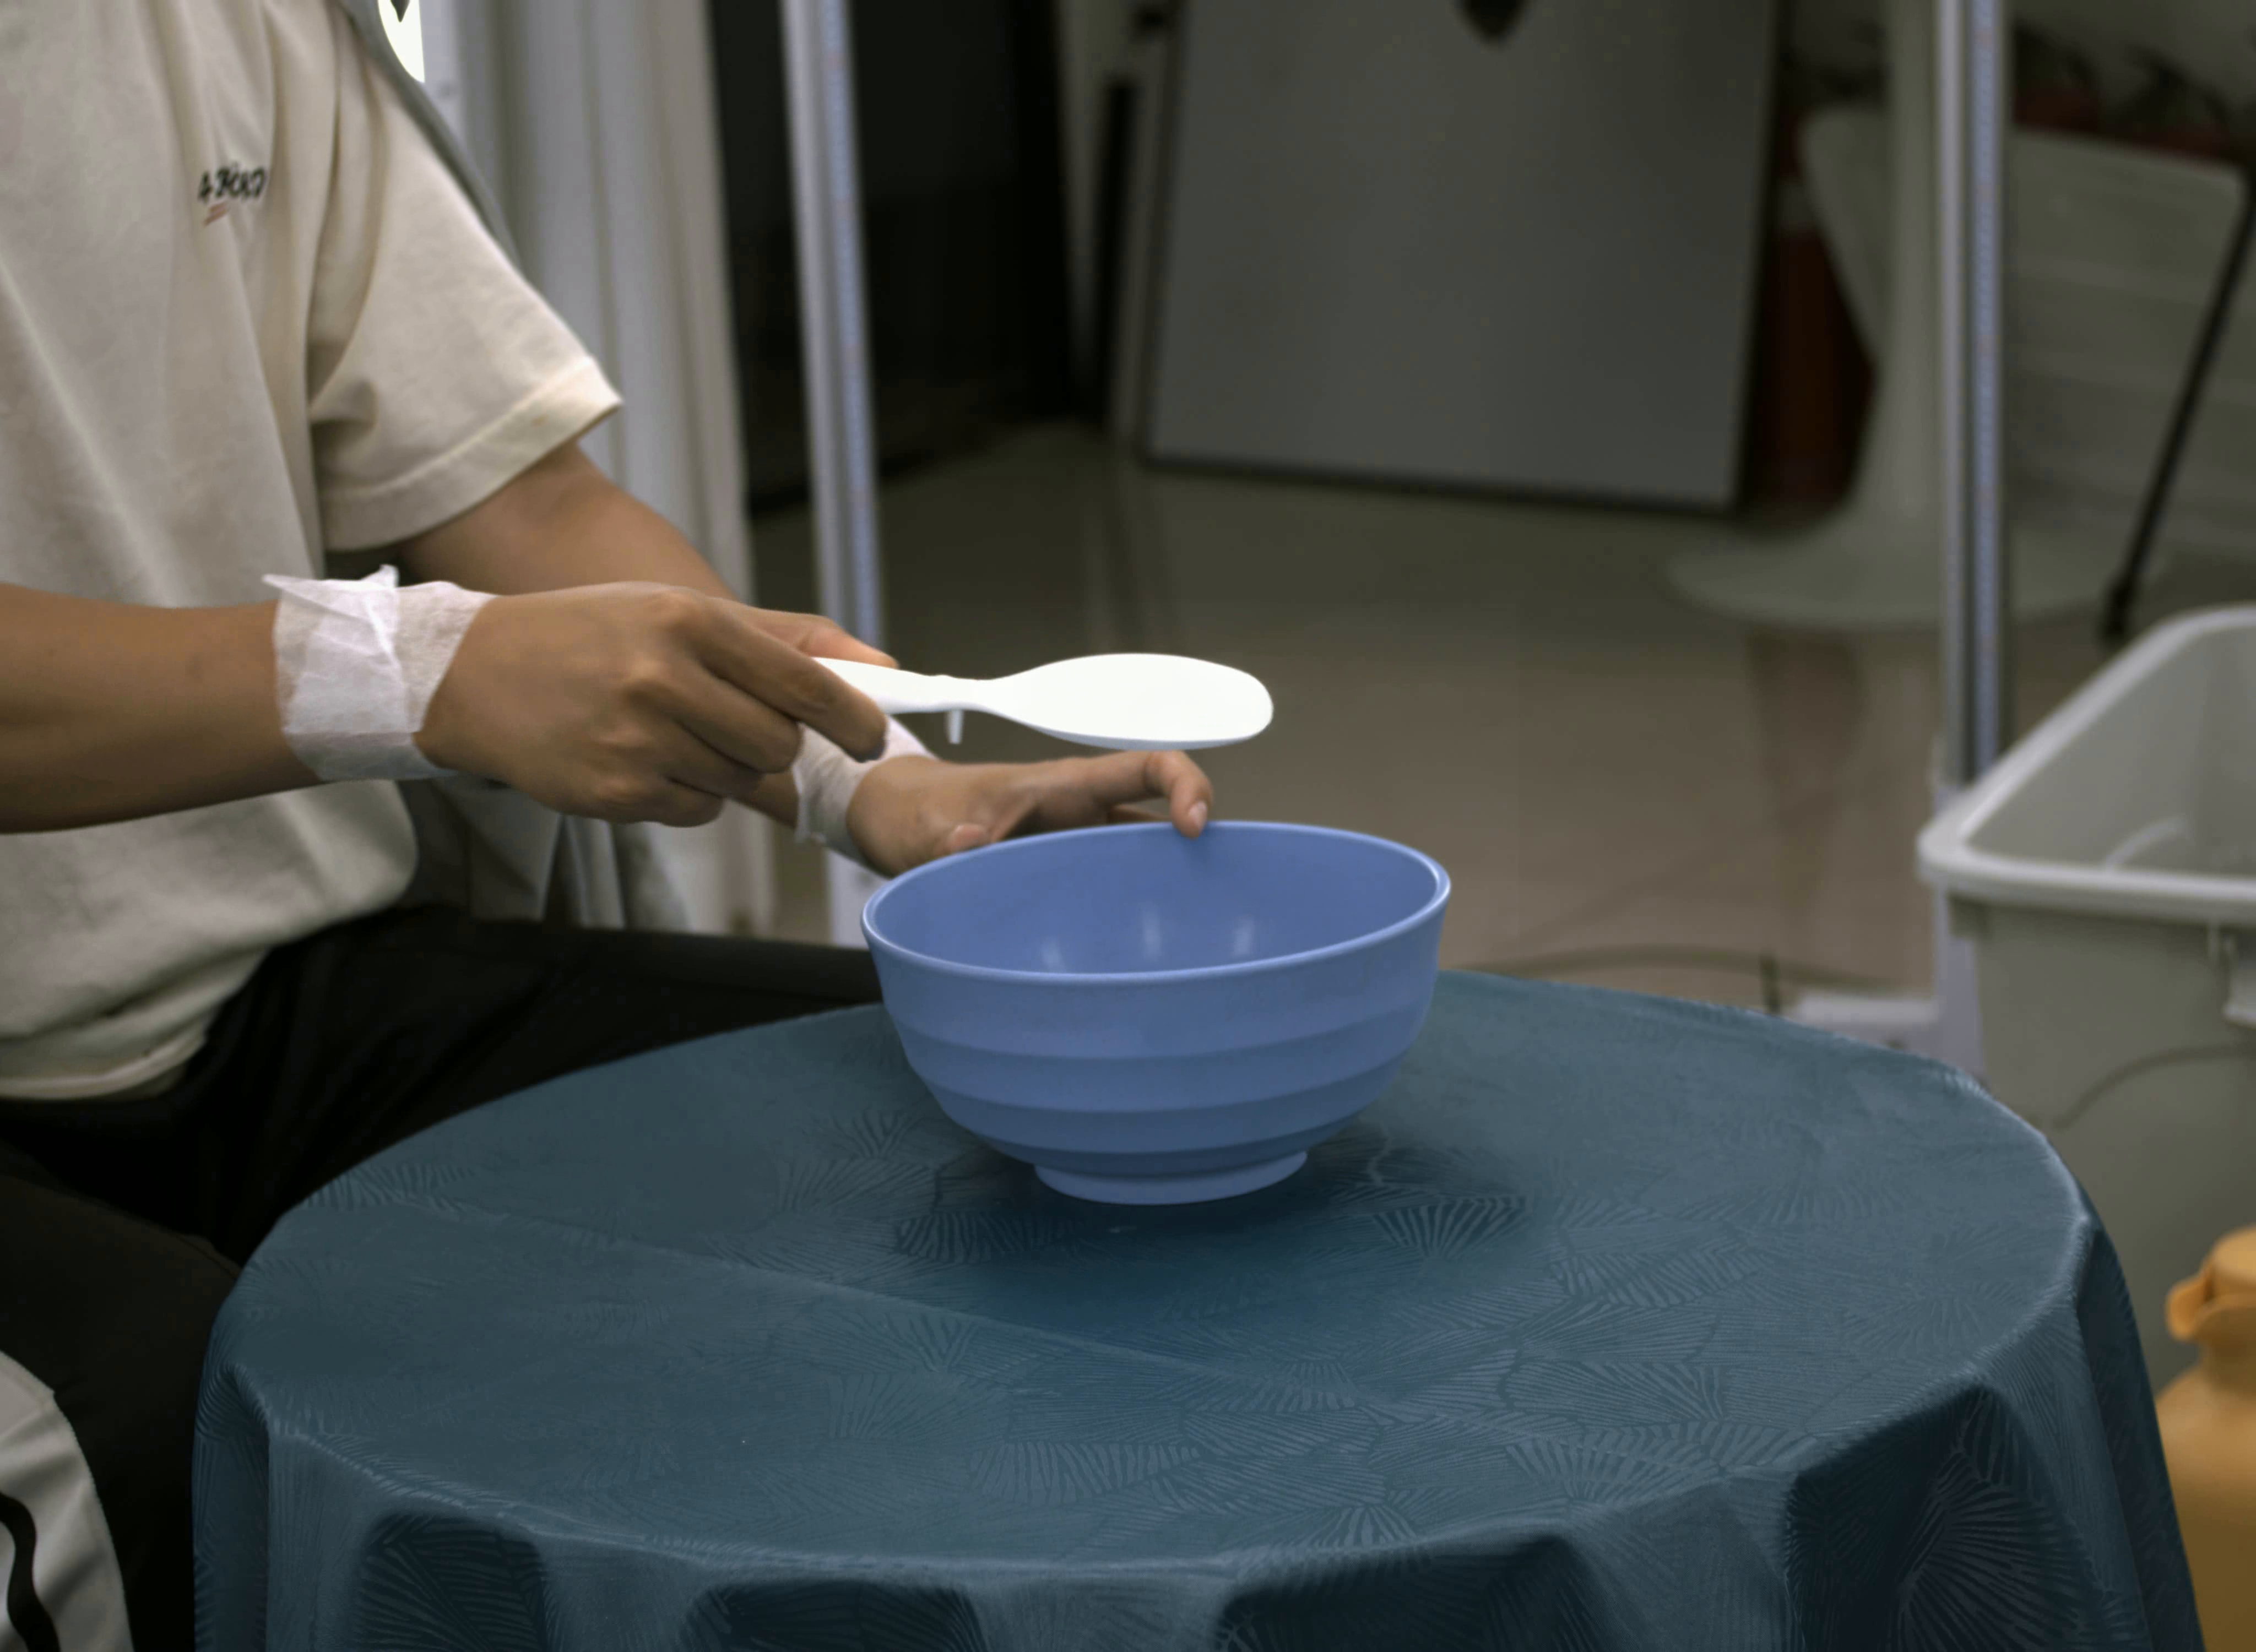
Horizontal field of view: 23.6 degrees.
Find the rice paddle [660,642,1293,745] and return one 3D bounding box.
[{"bbox_3d":[-0.046,-0.043,1.714,0.201,0.030,0.069,0,25,-10],"label":"rice paddle"}]

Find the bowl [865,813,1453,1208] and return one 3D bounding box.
[{"bbox_3d":[0.012,0.067,1.789,0.194,0.096,0.197,-3,15,0],"label":"bowl"}]
